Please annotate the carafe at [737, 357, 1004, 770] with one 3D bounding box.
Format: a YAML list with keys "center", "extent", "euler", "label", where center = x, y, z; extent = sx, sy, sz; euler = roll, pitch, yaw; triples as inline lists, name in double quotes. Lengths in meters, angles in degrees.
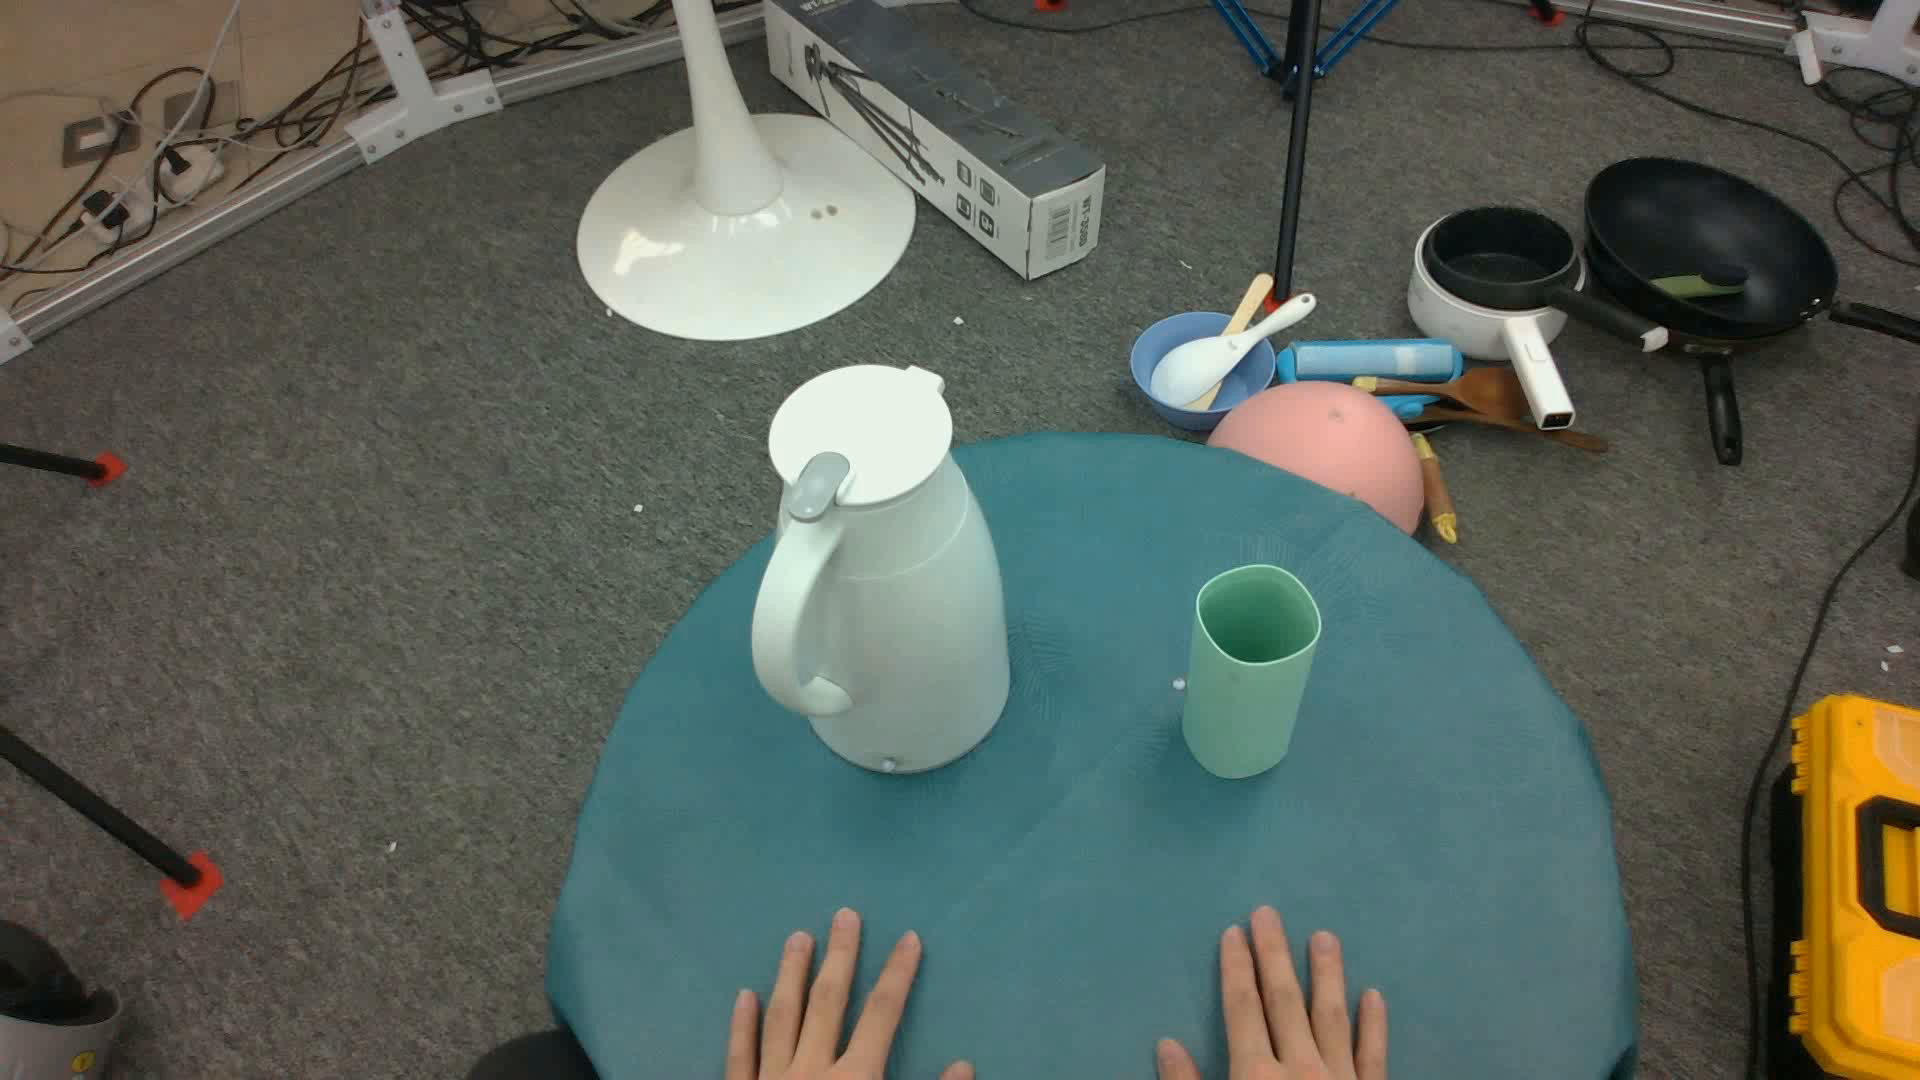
- center: [-0.057, 0.027, 0.761]
  extent: [0.132, 0.247, 0.168]
  euler: [23, 59, 21]
  label: "carafe"

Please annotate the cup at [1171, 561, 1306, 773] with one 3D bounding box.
- center: [0.157, 0.076, 0.786]
  extent: [0.067, 0.132, 0.067]
  euler: [-2, 53, 3]
  label: "cup"
